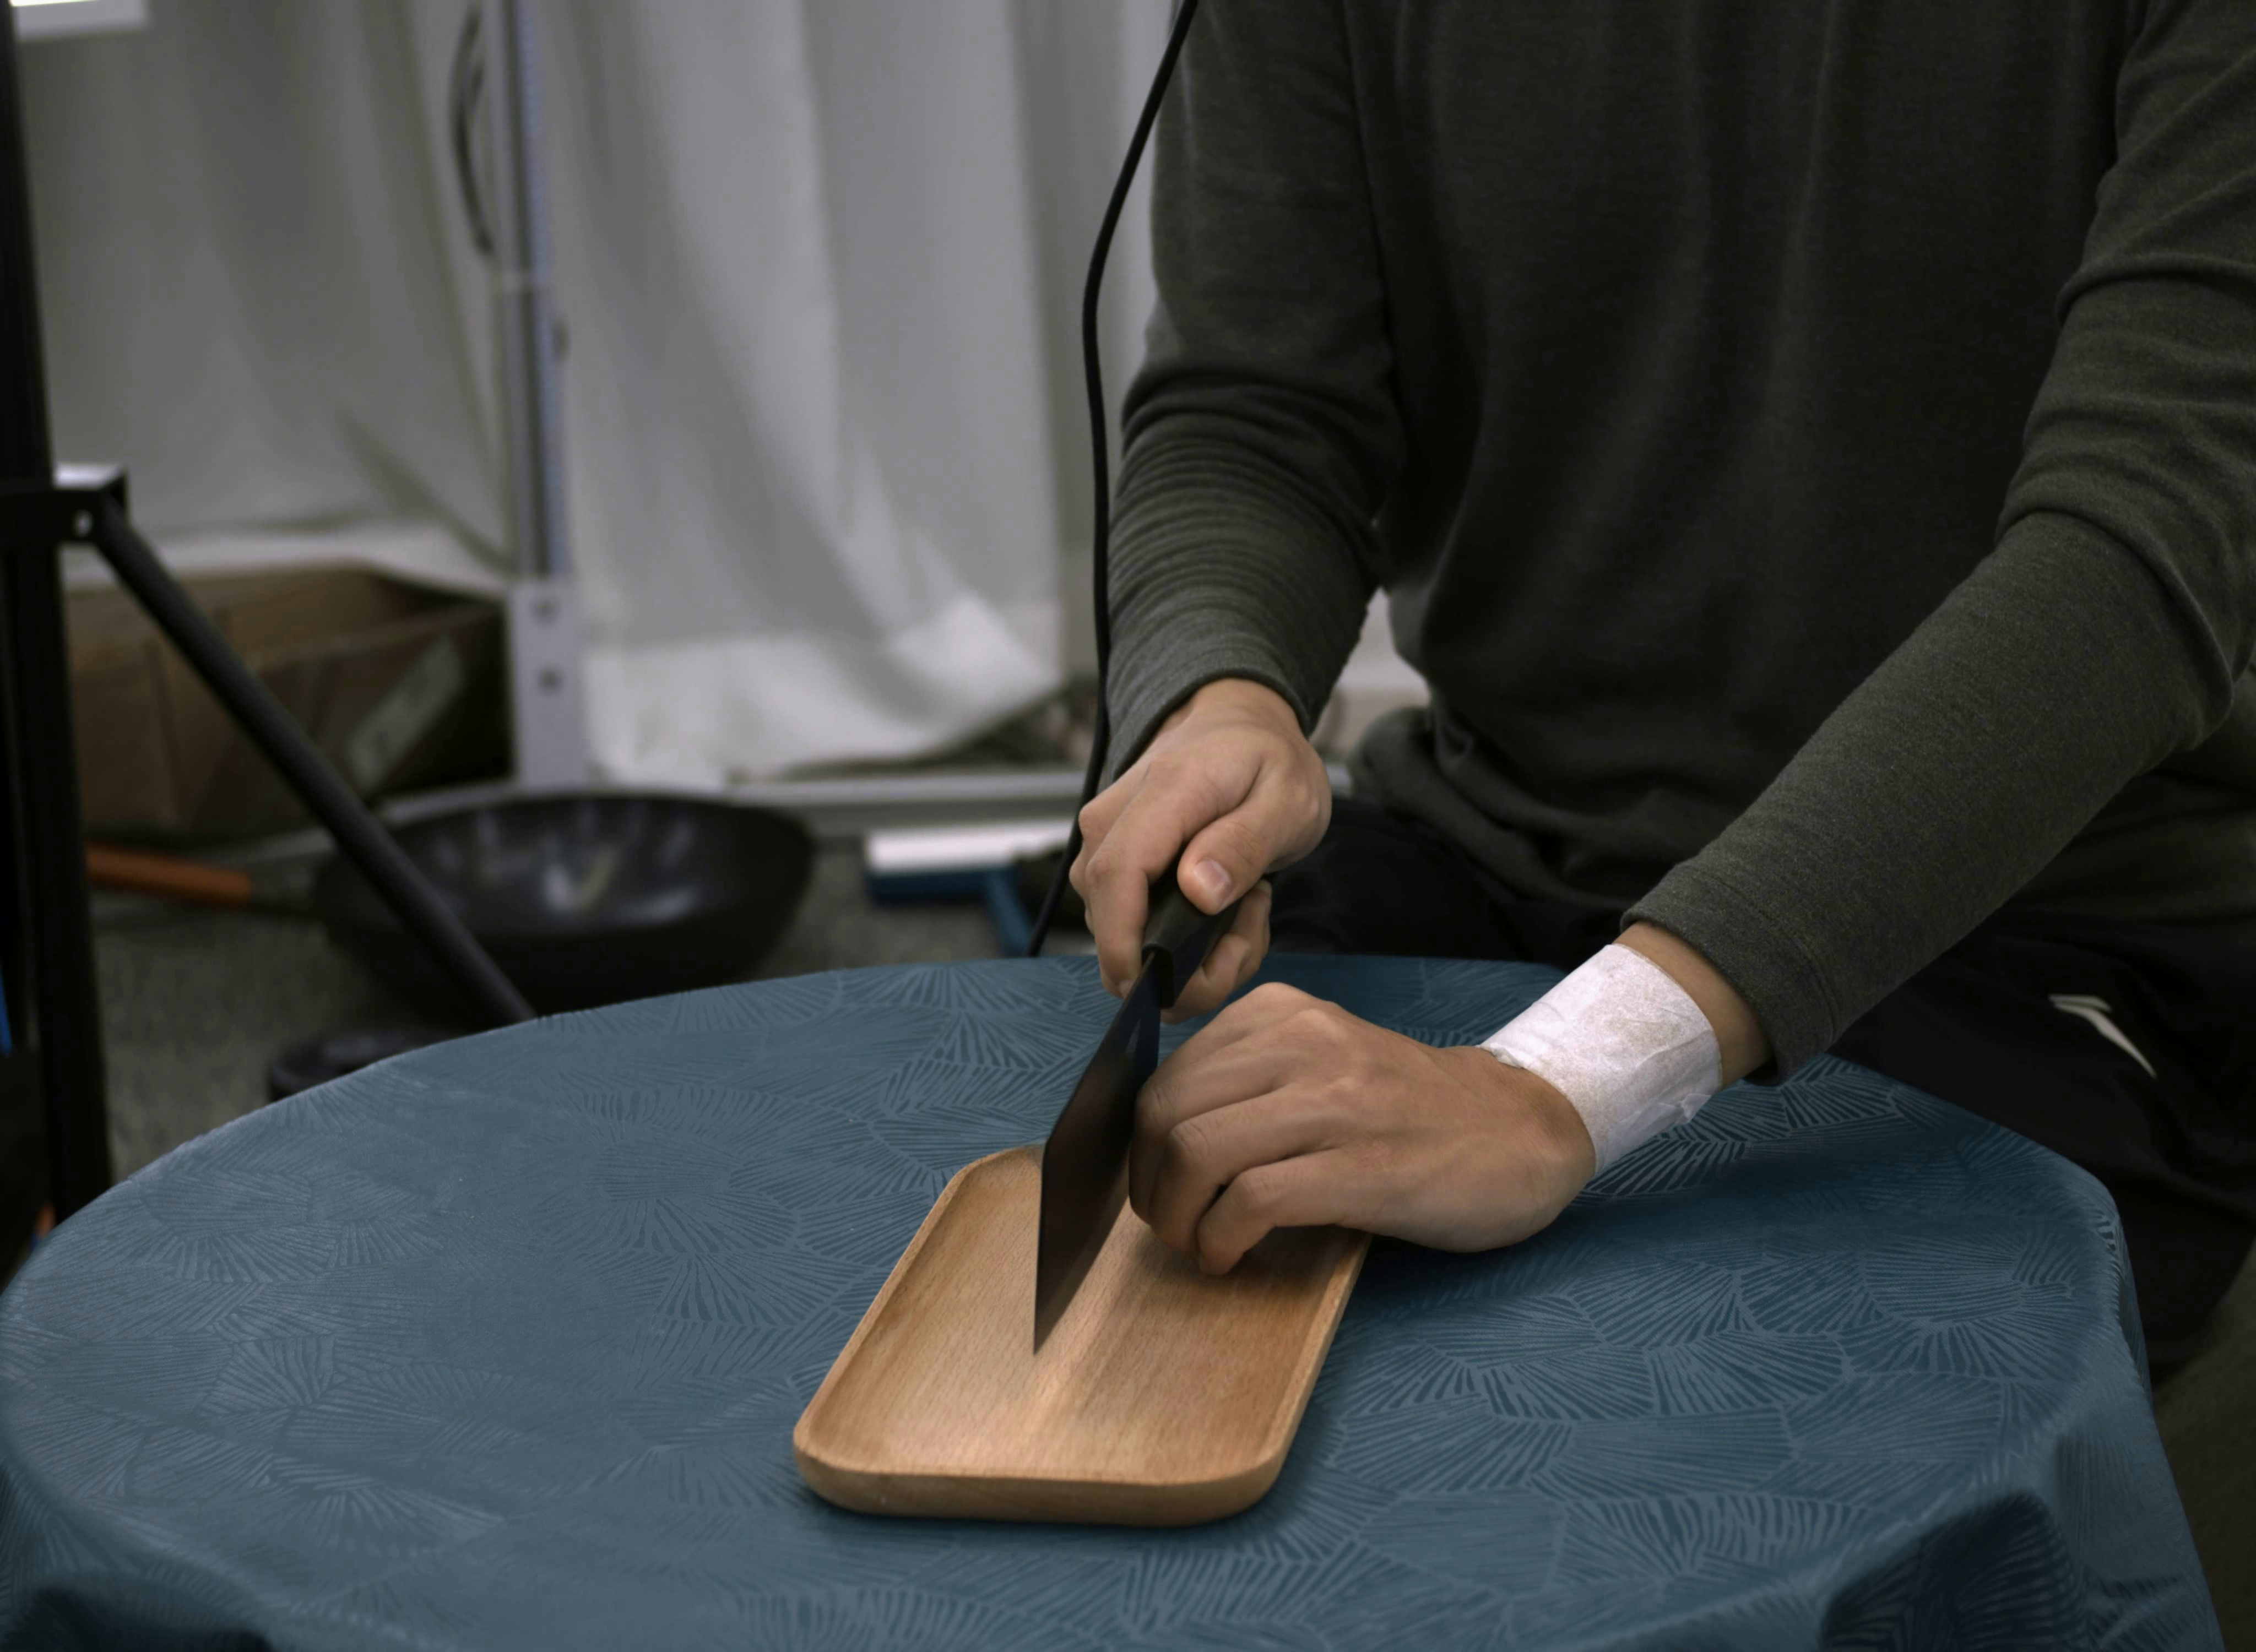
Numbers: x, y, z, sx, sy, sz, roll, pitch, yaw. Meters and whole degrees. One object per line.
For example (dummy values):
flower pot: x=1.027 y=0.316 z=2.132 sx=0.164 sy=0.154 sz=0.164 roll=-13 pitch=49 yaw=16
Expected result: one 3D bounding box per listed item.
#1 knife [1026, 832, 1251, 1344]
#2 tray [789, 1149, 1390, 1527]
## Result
knife: x=0.003 y=0.065 z=1.500 sx=0.021 sy=0.081 sz=0.301 roll=7 pitch=21 yaw=8
tray: x=-0.005 y=0.135 z=1.438 sx=0.131 sy=0.023 sz=0.249 roll=3 pitch=15 yaw=11
